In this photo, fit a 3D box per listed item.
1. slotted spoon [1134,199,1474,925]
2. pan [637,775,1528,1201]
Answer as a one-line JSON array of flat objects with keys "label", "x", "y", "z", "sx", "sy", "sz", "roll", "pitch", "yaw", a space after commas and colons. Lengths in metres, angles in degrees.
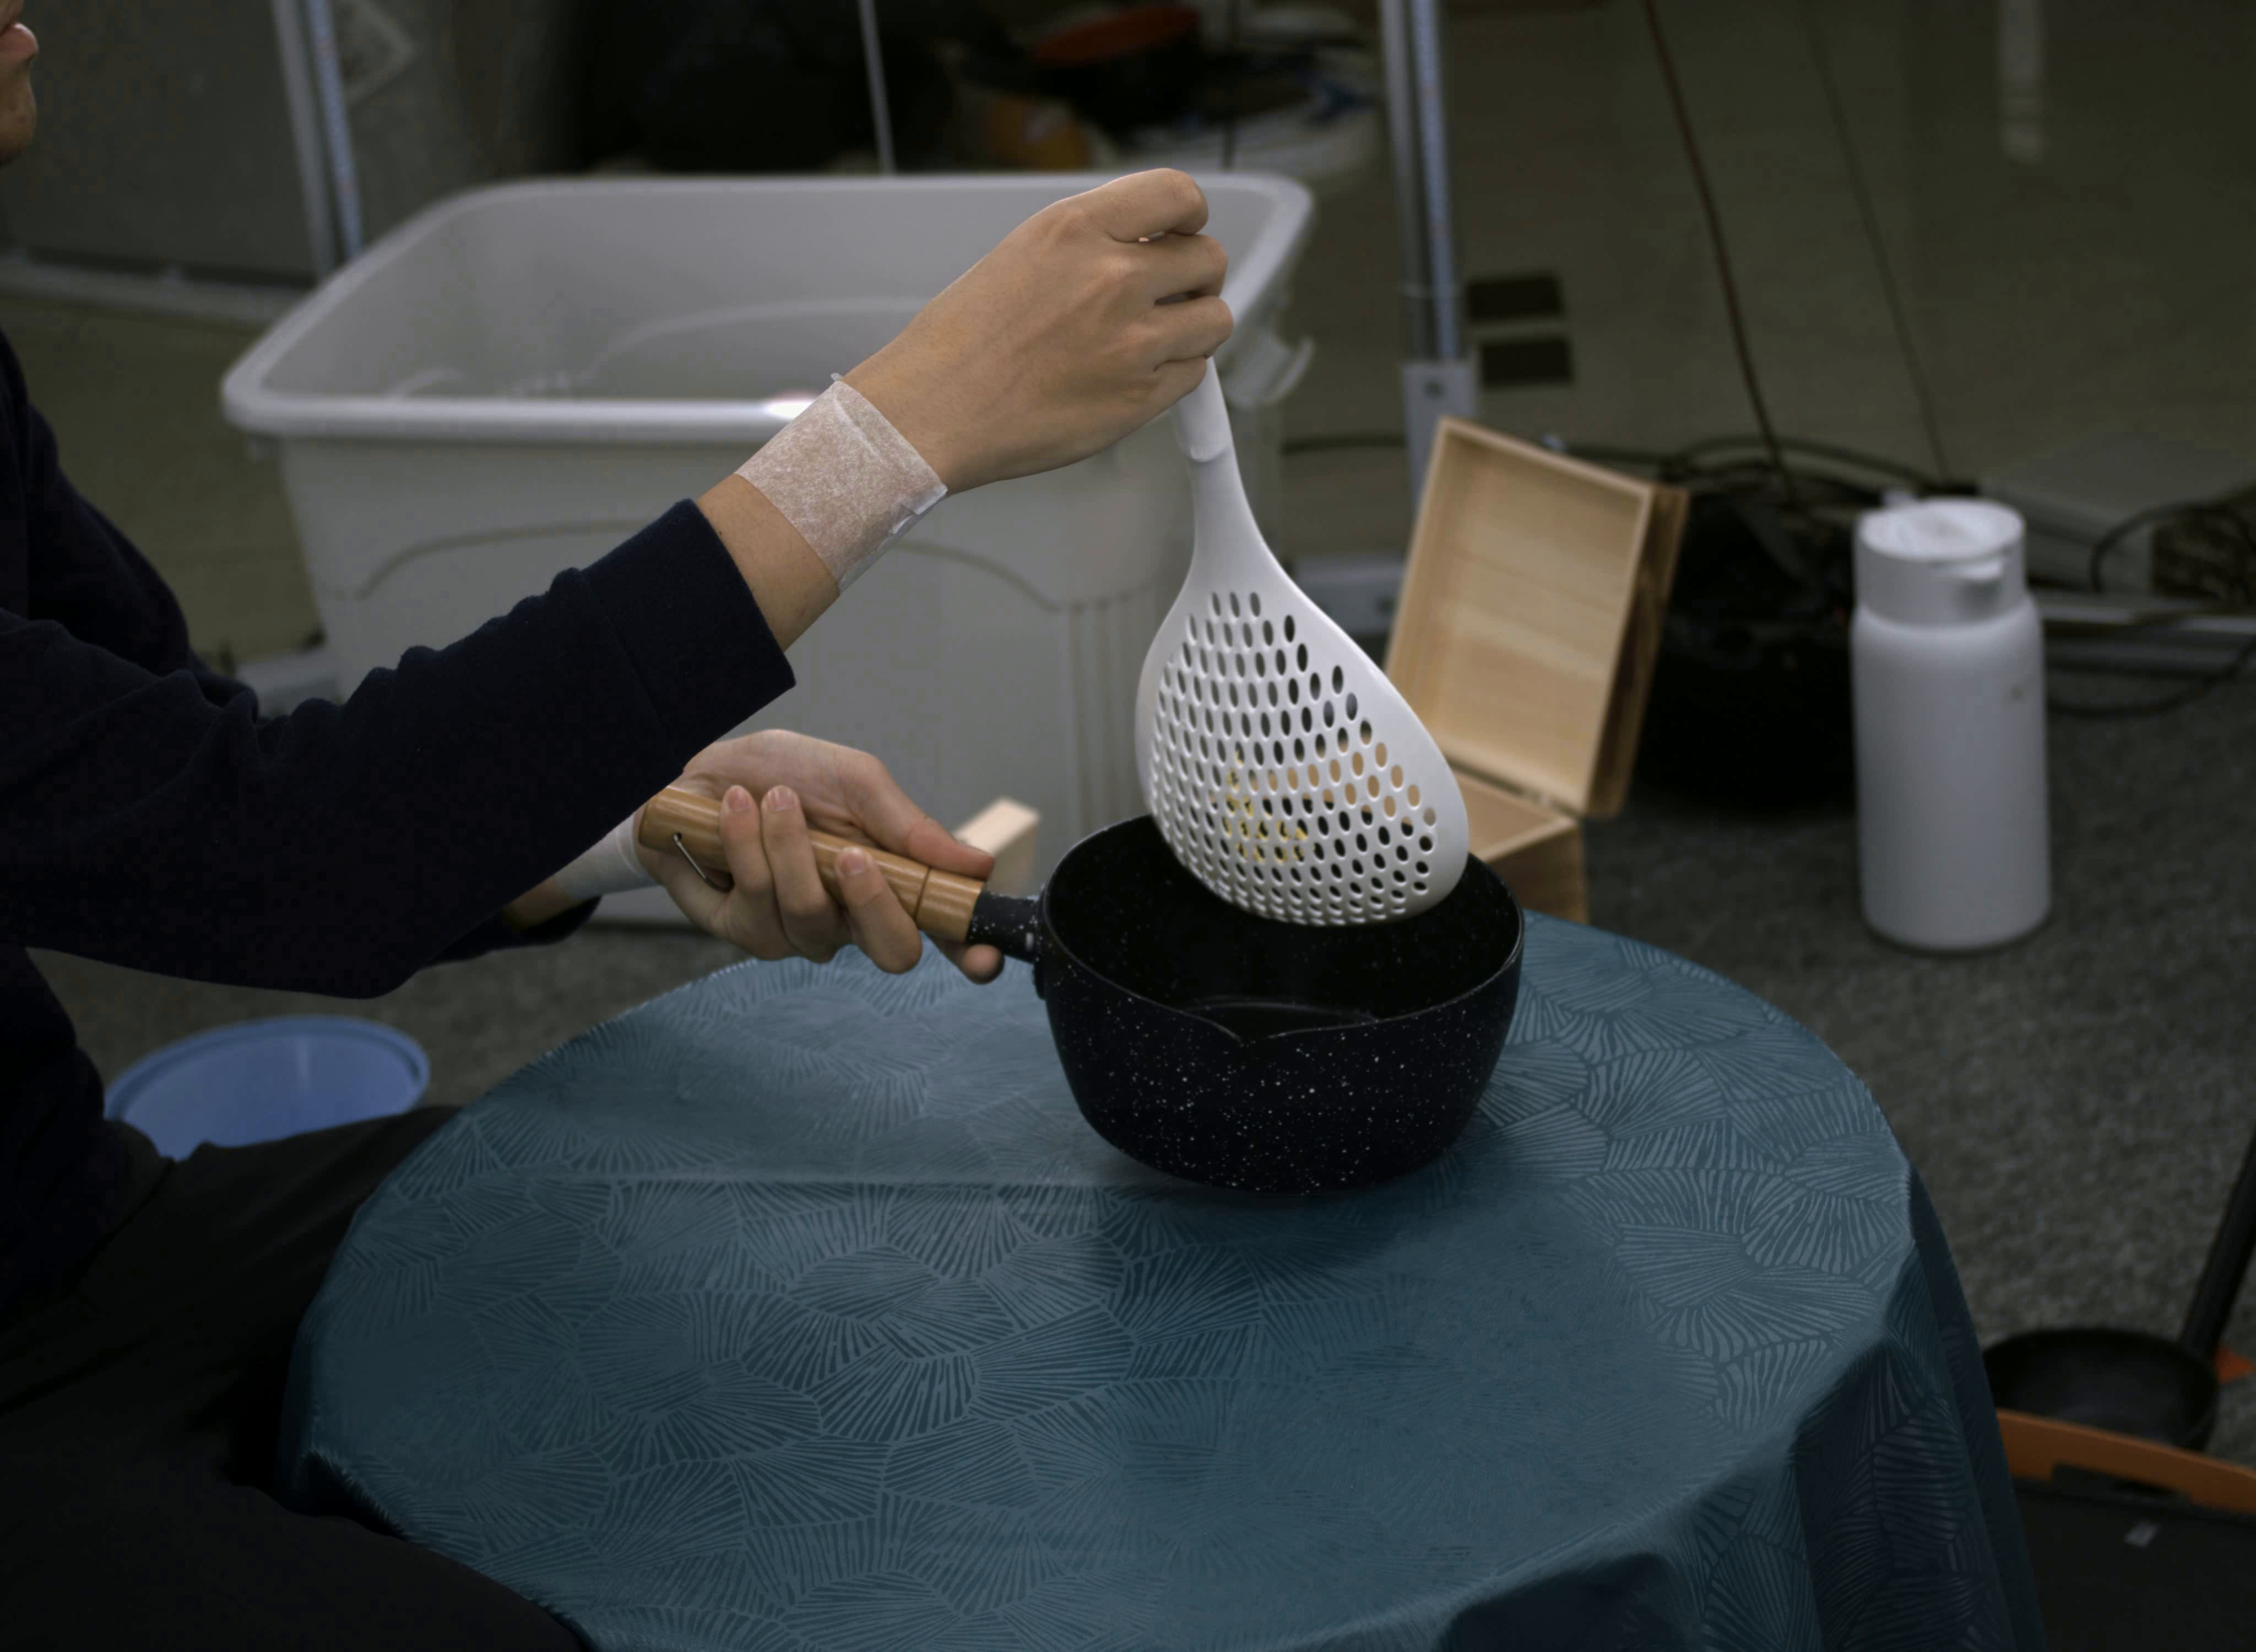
[{"label": "slotted spoon", "x": 0.040, "y": -0.092, "z": 2.091, "sx": 0.136, "sy": 0.354, "sz": 0.049, "roll": 5, "pitch": 39, "yaw": 24}, {"label": "pan", "x": -0.021, "y": 0.051, "z": 2.161, "sx": 0.342, "sy": 0.110, "sz": 0.204, "roll": 6, "pitch": 28, "yaw": 4}]
